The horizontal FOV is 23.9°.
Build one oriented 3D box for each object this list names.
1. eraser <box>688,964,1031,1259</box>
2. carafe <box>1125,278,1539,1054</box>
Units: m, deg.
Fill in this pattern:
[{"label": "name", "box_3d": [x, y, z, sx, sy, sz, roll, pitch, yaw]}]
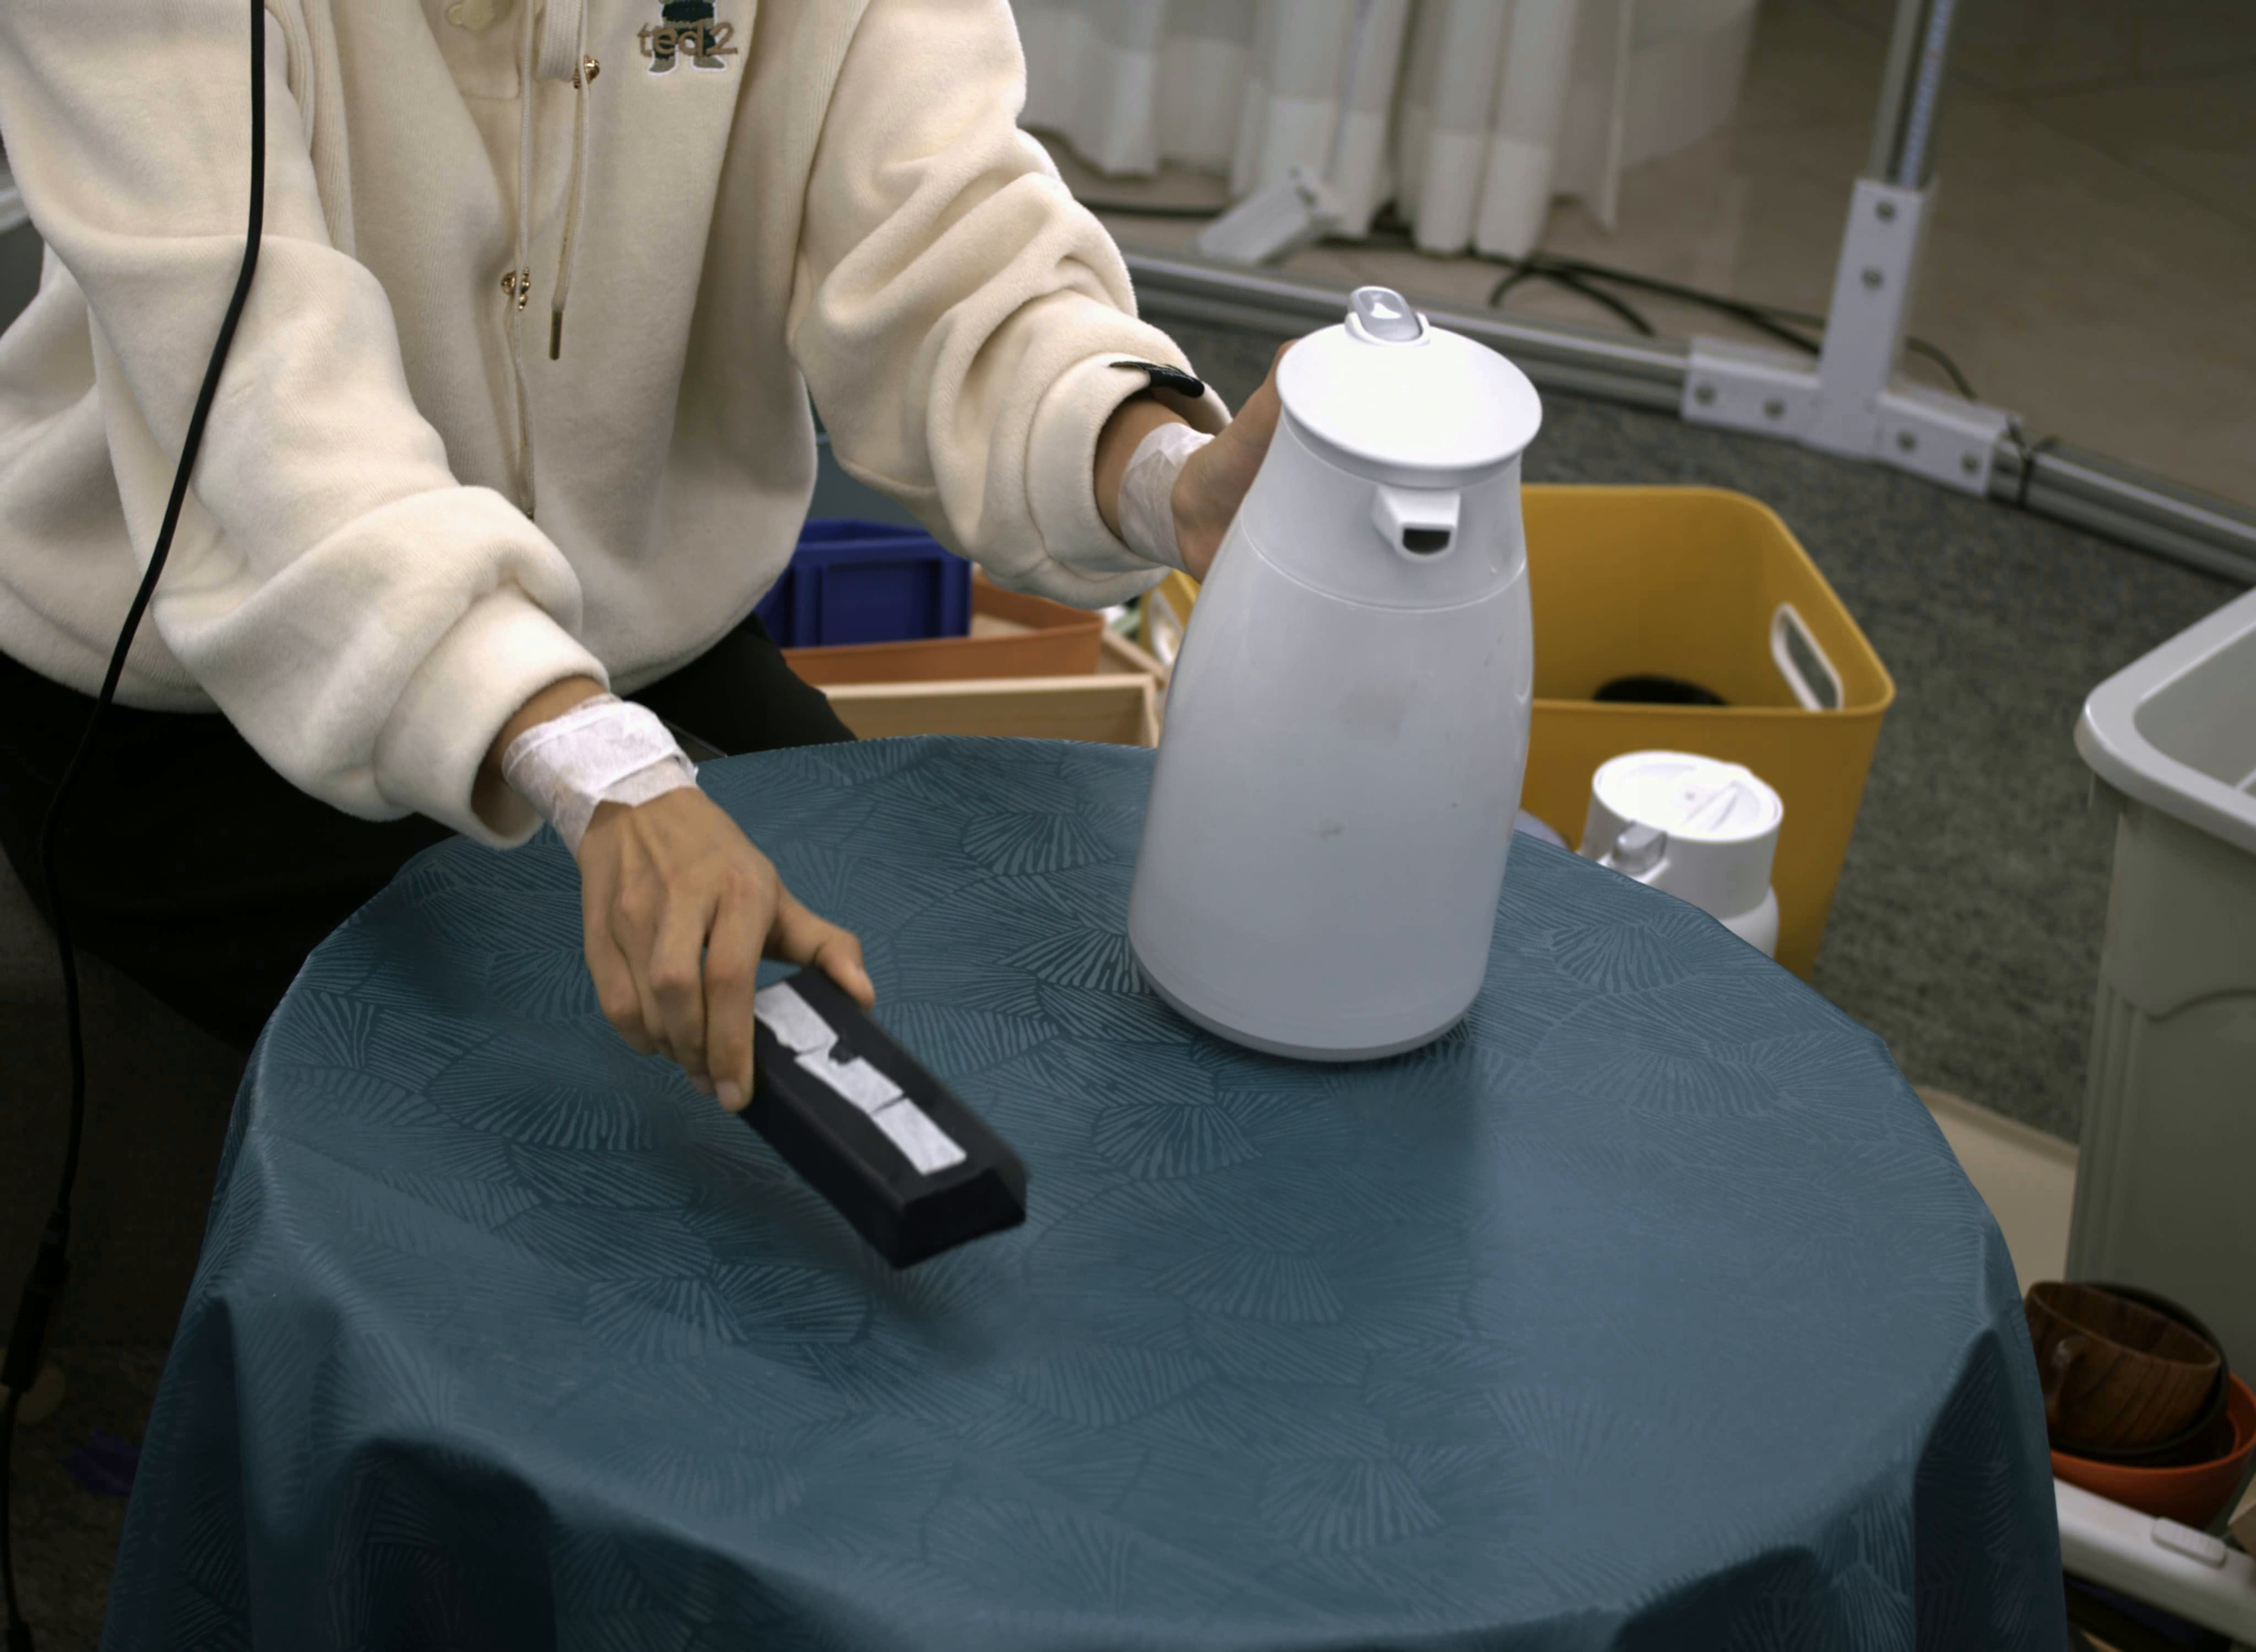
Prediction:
[{"label": "eraser", "box_3d": [-0.088, 0.092, 1.735, 0.053, 0.030, 0.126, -21, 41, -31]}, {"label": "carafe", "box_3d": [0.076, -0.068, 1.882, 0.132, 0.247, 0.169, 2, 35, -9]}]
